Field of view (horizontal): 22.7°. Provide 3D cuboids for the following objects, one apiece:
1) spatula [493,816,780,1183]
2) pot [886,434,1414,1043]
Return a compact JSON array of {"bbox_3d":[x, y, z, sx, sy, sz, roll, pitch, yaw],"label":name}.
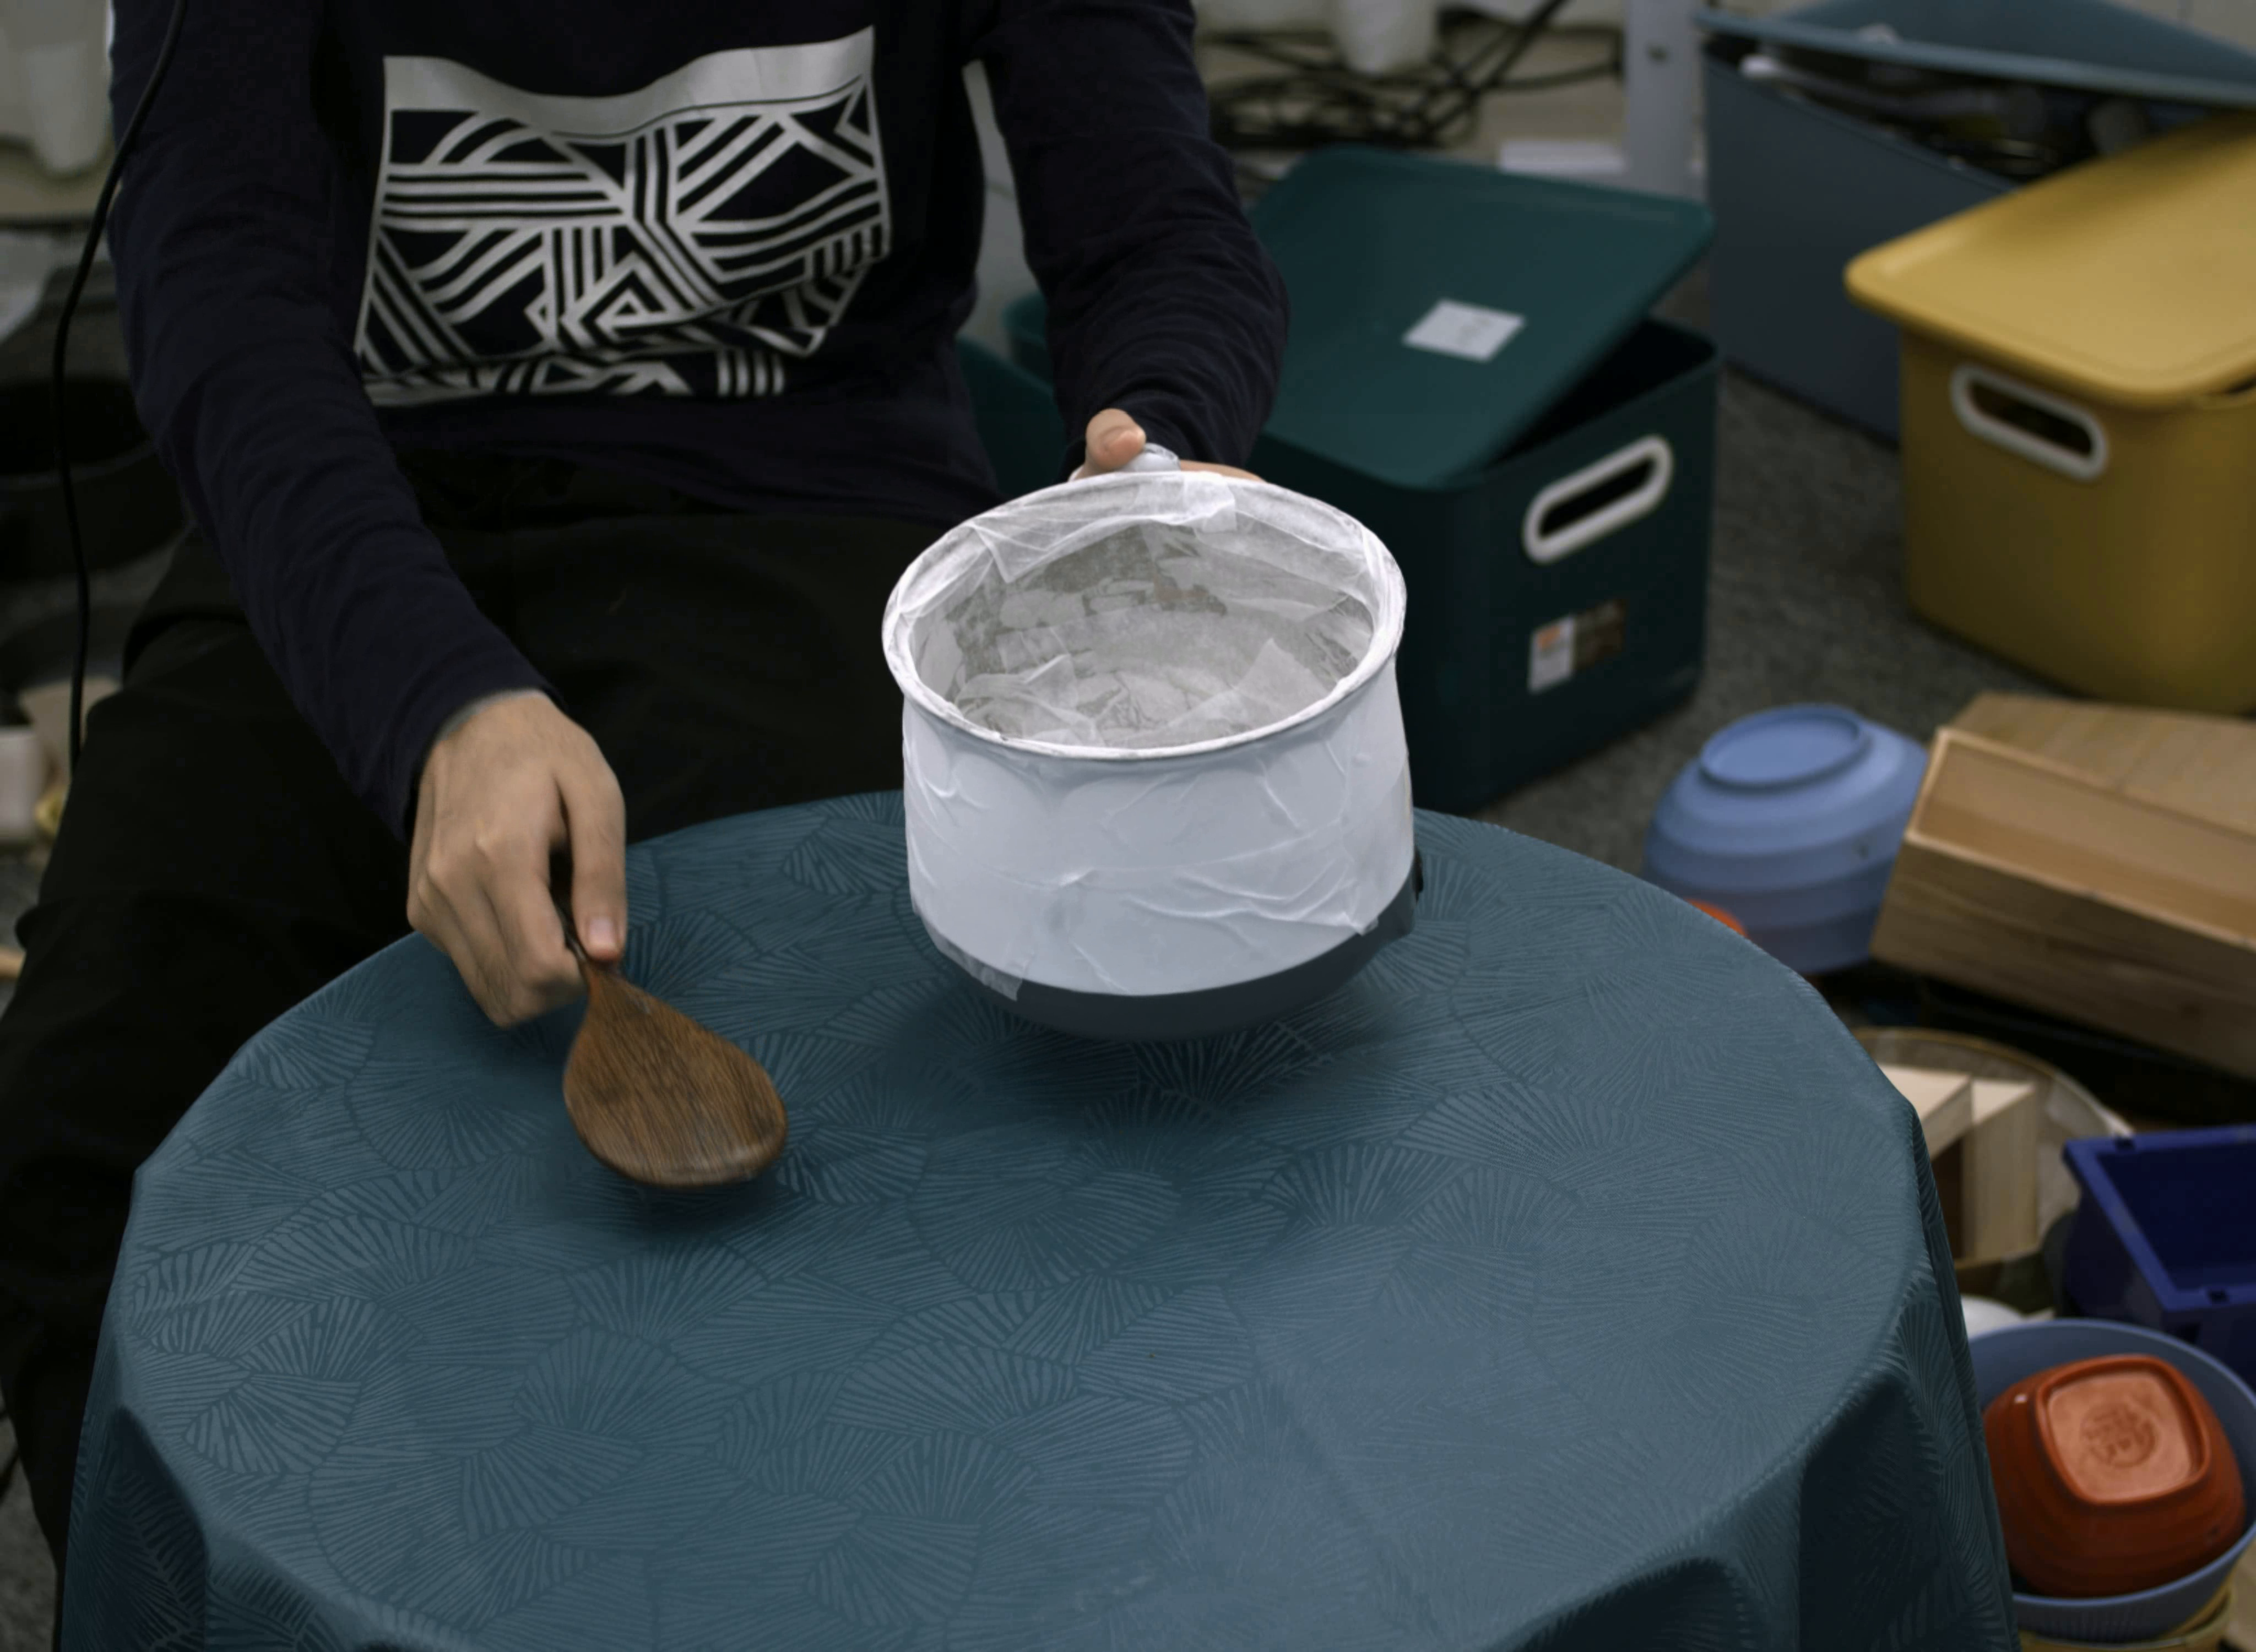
[{"bbox_3d":[-0.177,0.056,1.920,0.072,0.009,0.218,-6,34,-22],"label":"spatula"},{"bbox_3d":[0.009,-0.039,1.941,0.178,0.135,0.238,-1,35,0],"label":"pot"}]
